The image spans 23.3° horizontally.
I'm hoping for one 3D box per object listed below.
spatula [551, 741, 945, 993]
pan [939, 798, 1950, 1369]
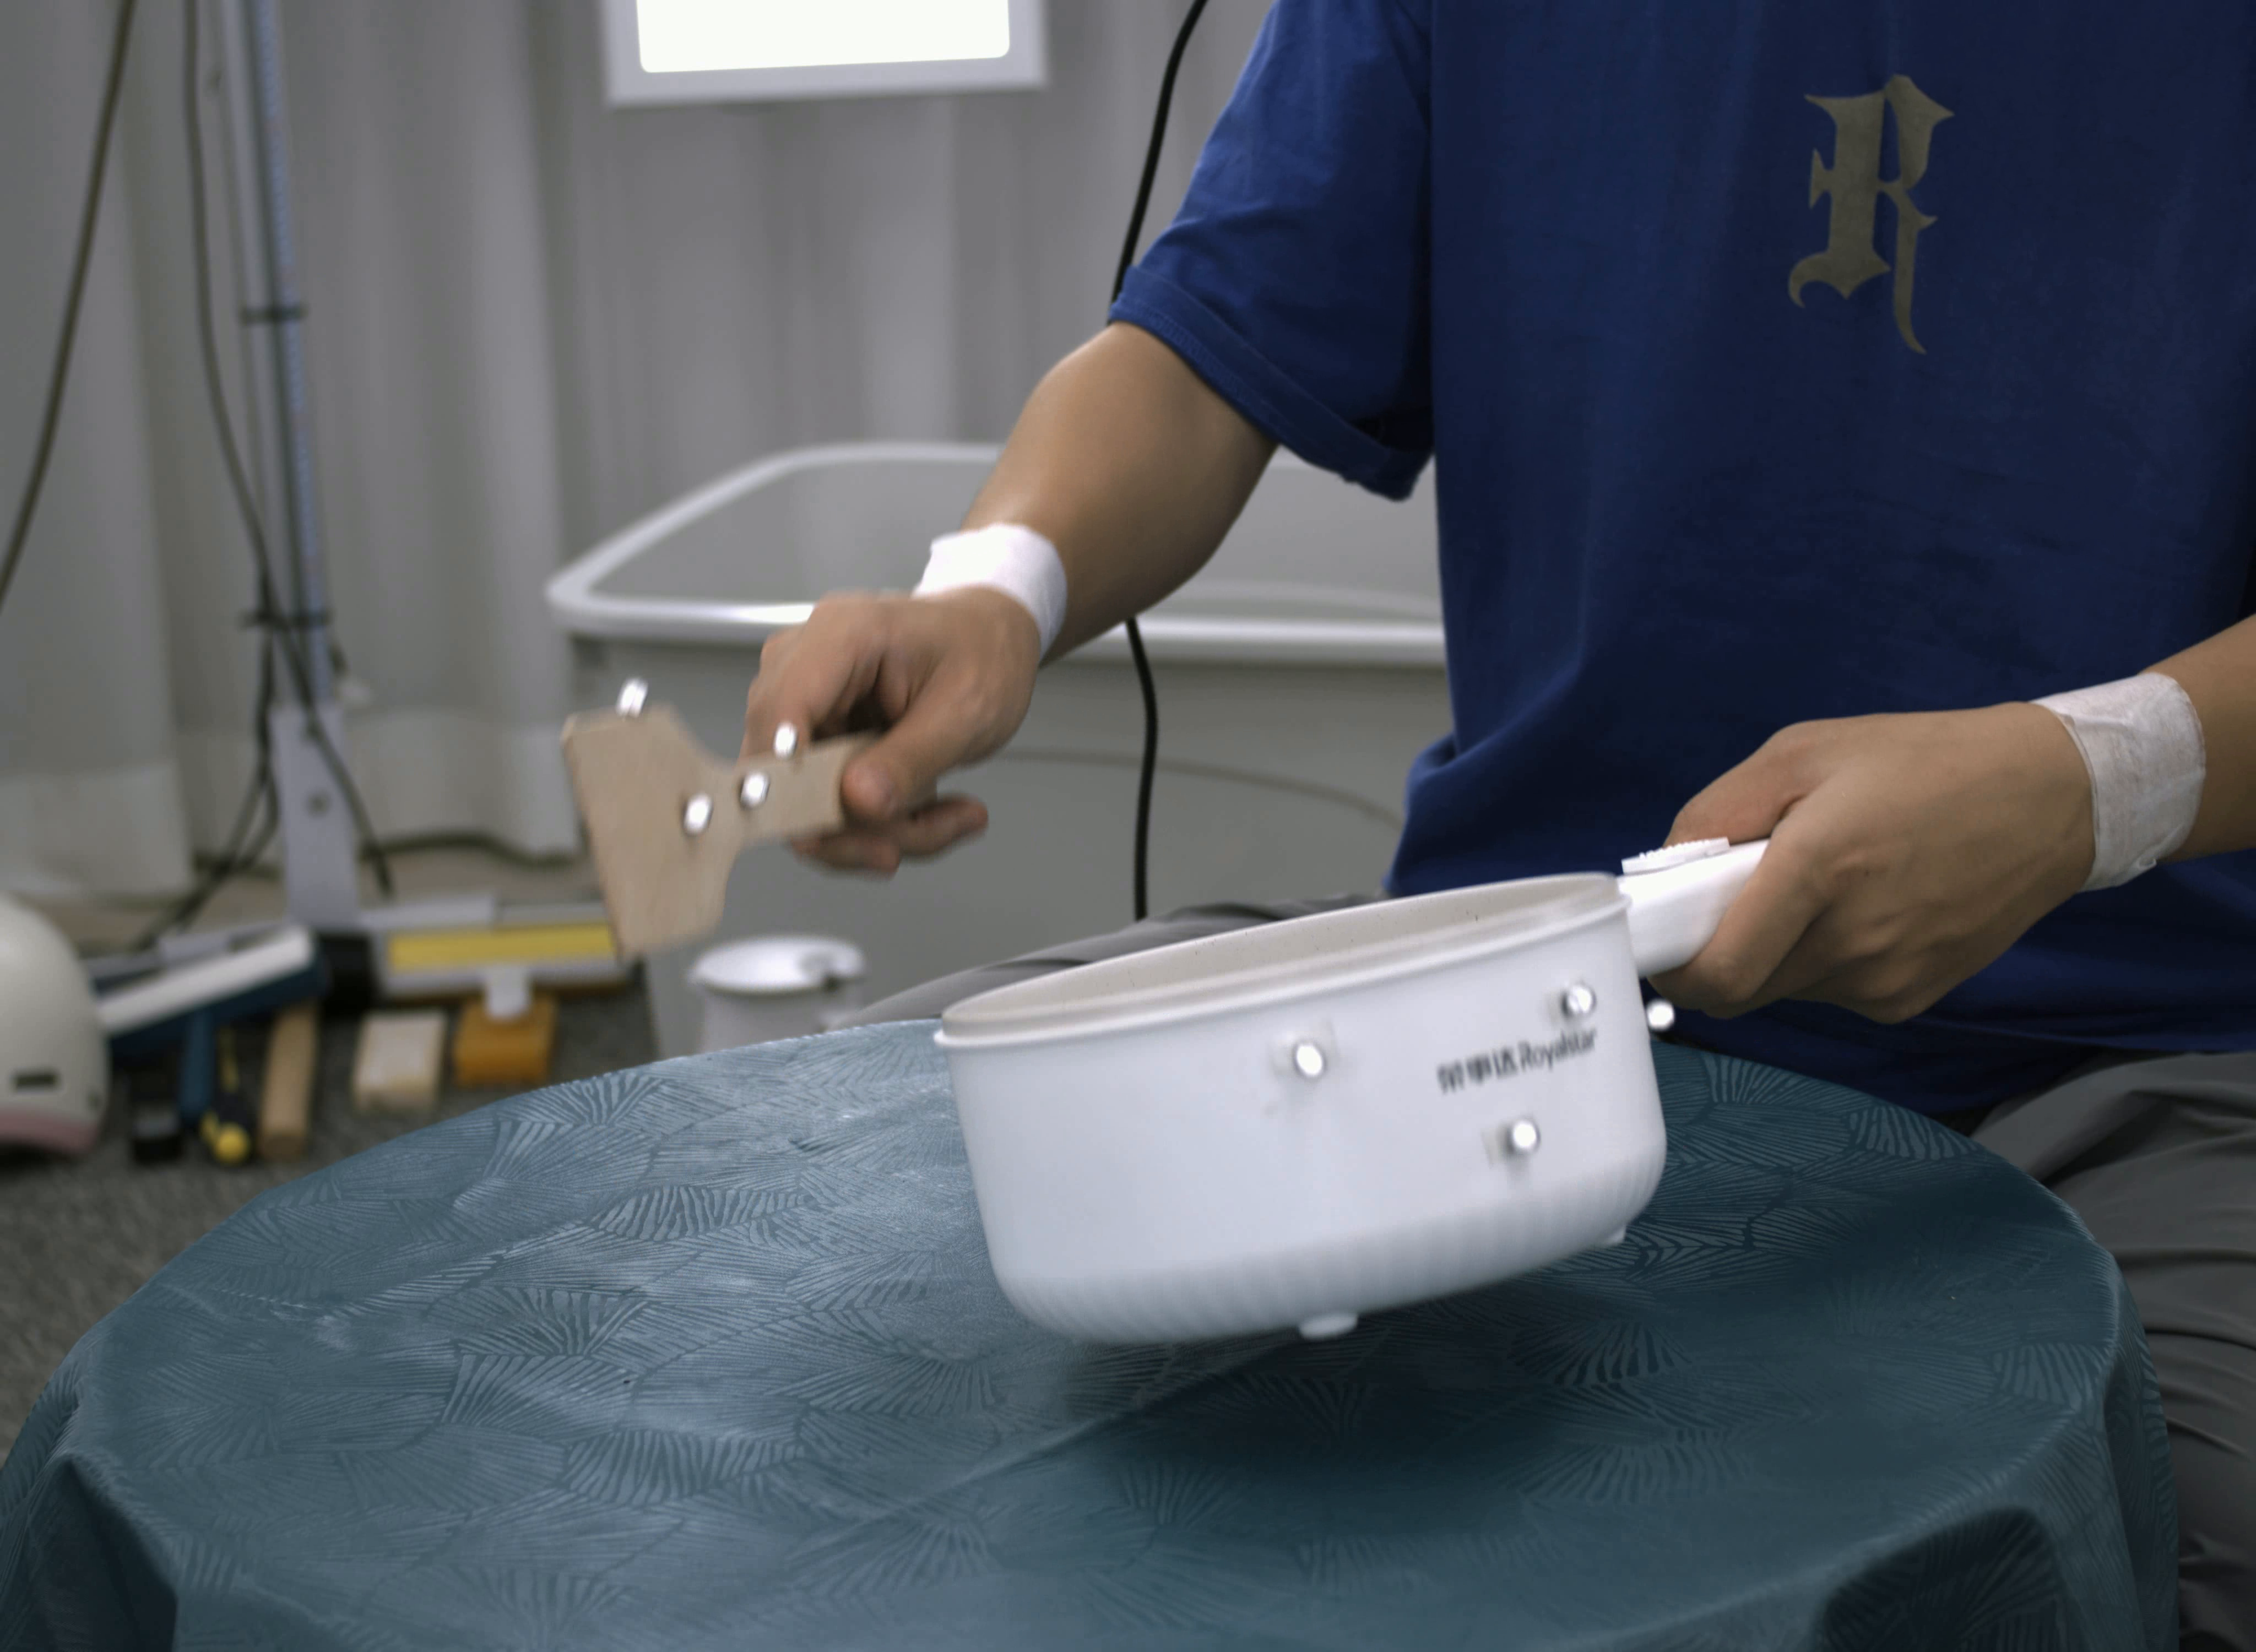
[{"bbox_3d":[-0.112,-0.001,1.700,0.010,0.072,0.293,-17,0,19],"label":"spatula"},{"bbox_3d":[0.112,0.073,1.585,0.354,0.102,0.201,-14,2,-39],"label":"pan"}]
